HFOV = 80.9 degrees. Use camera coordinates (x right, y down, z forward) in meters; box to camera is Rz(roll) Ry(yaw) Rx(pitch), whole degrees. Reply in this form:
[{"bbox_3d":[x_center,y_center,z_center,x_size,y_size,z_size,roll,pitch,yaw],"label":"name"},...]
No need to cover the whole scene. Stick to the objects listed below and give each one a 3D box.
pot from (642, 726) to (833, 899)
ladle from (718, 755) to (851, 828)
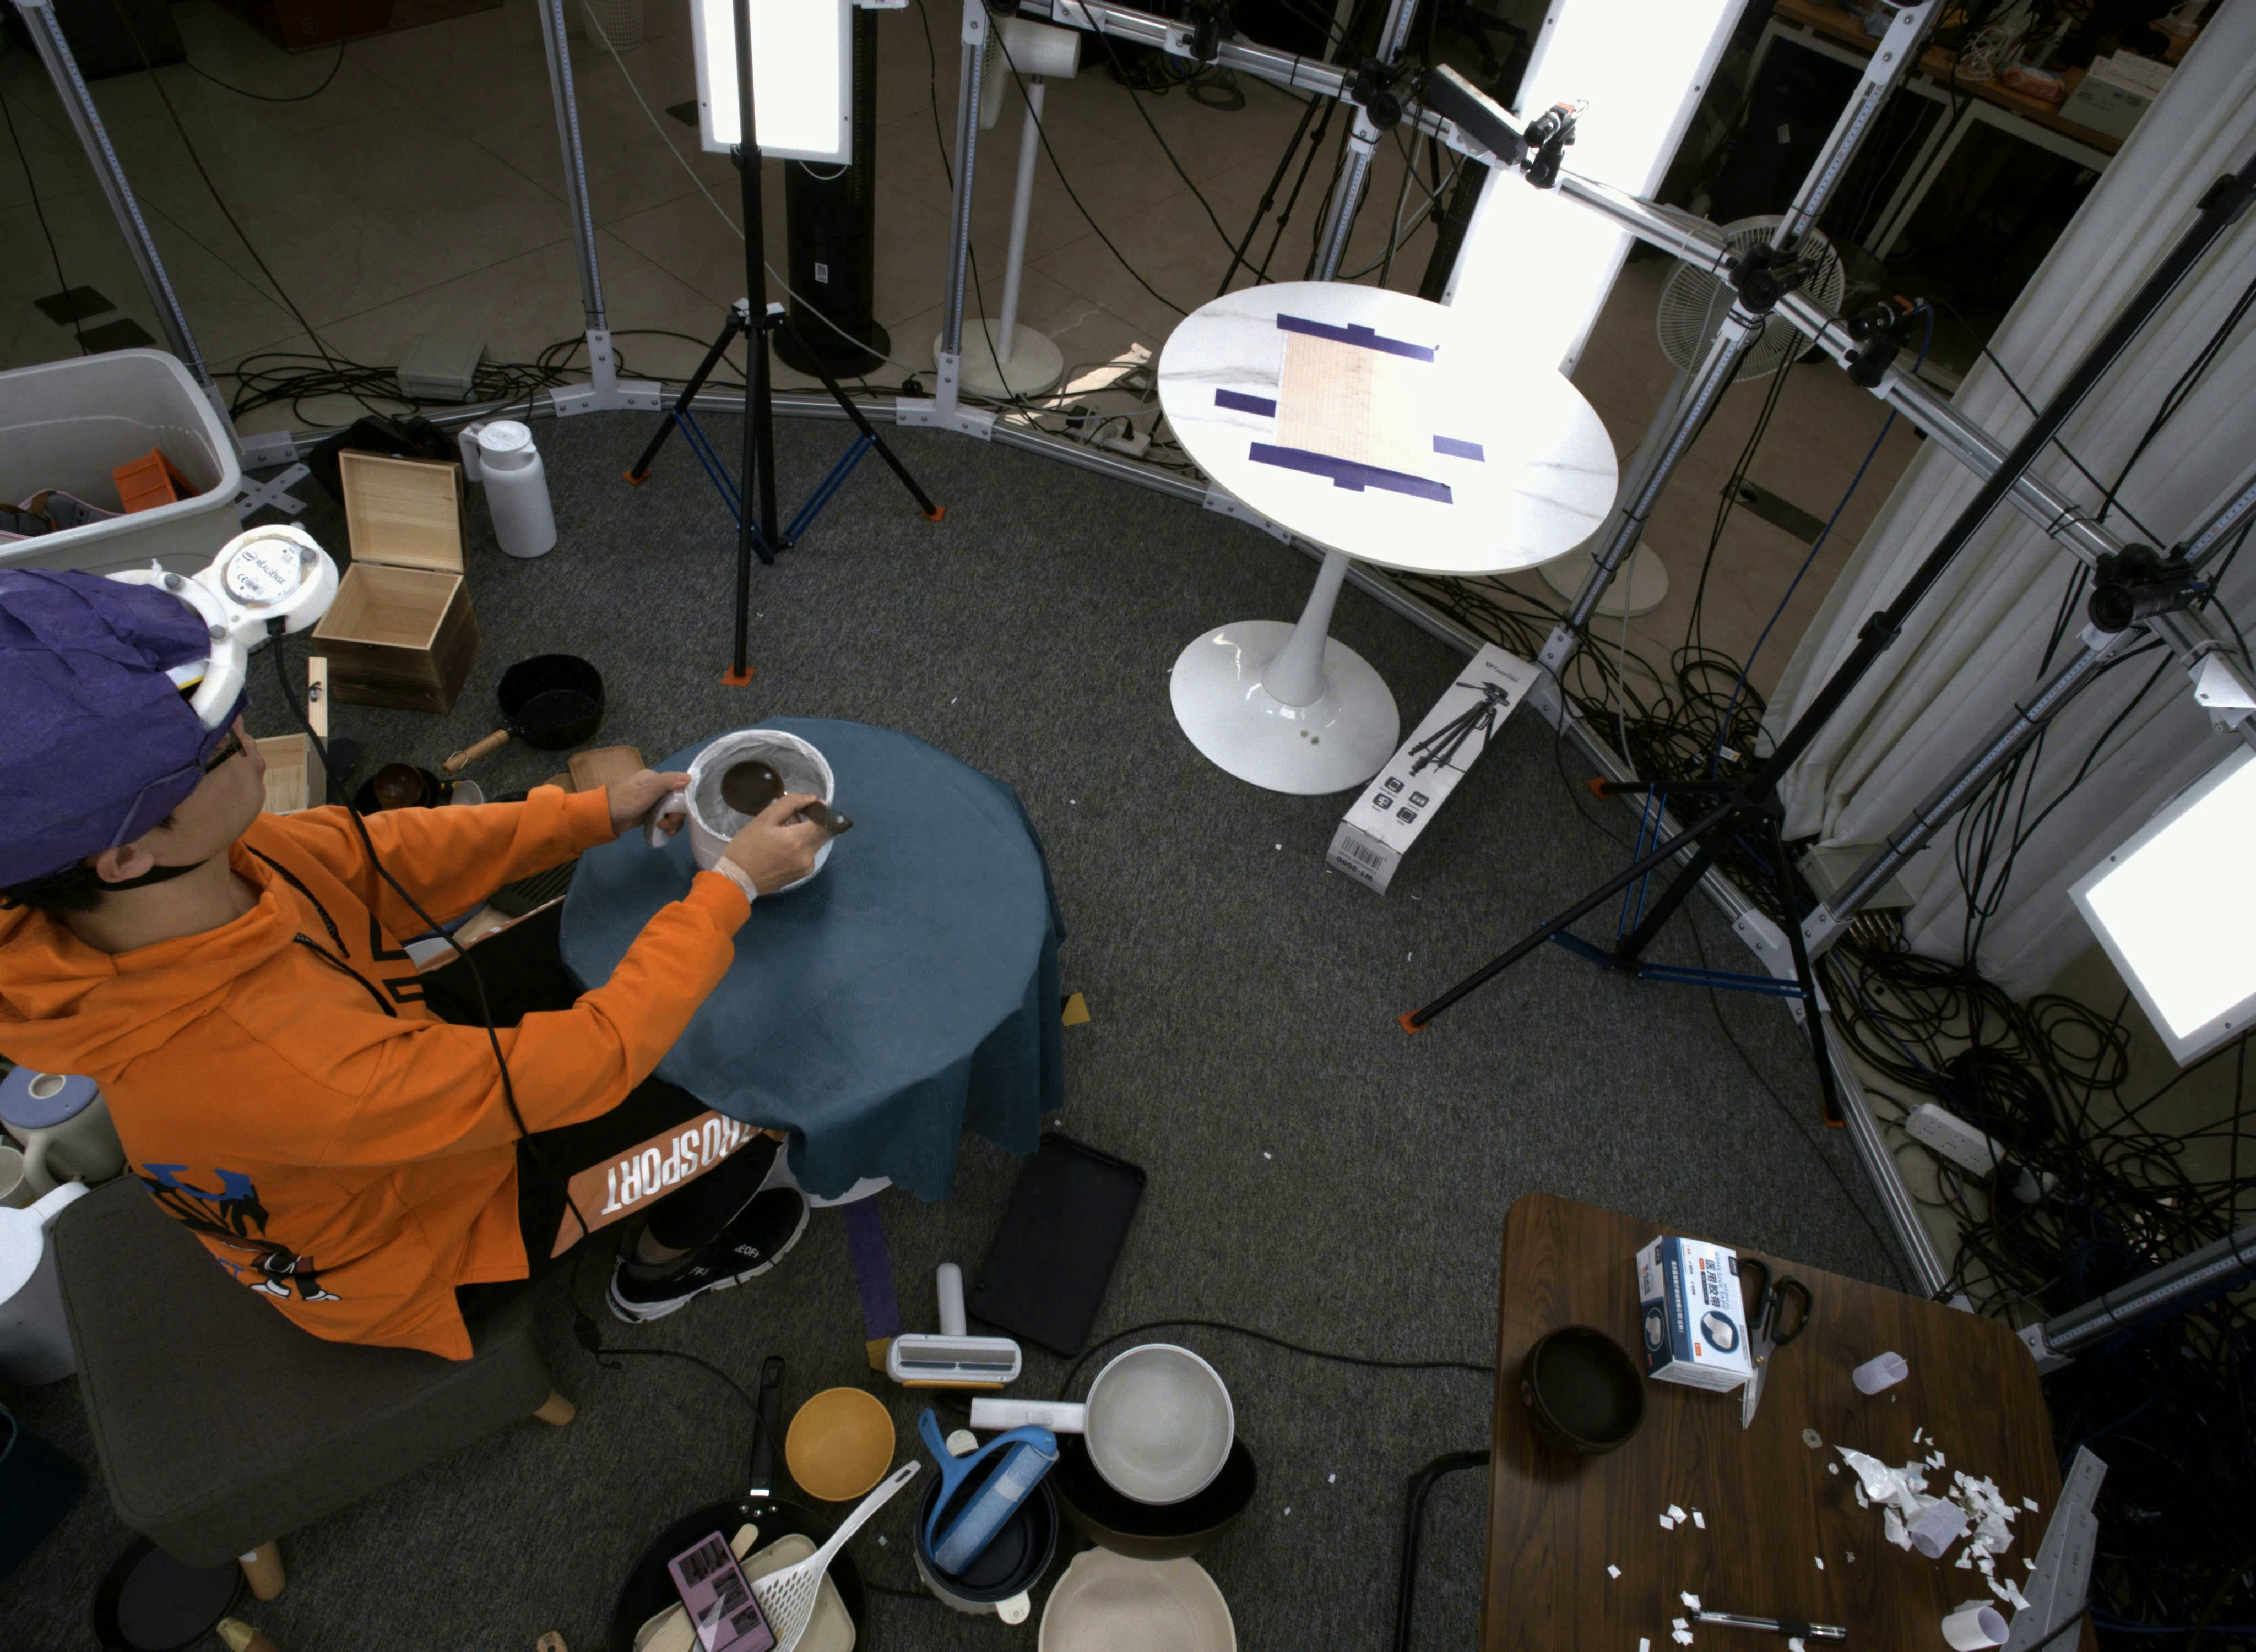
[{"bbox_3d":[-0.478,-0.013,1.578,0.234,0.139,0.175,-1,55,-15],"label":"pot"},{"bbox_3d":[-0.390,-0.042,1.460,0.076,0.265,0.073,-38,114,-28],"label":"ladle"}]
